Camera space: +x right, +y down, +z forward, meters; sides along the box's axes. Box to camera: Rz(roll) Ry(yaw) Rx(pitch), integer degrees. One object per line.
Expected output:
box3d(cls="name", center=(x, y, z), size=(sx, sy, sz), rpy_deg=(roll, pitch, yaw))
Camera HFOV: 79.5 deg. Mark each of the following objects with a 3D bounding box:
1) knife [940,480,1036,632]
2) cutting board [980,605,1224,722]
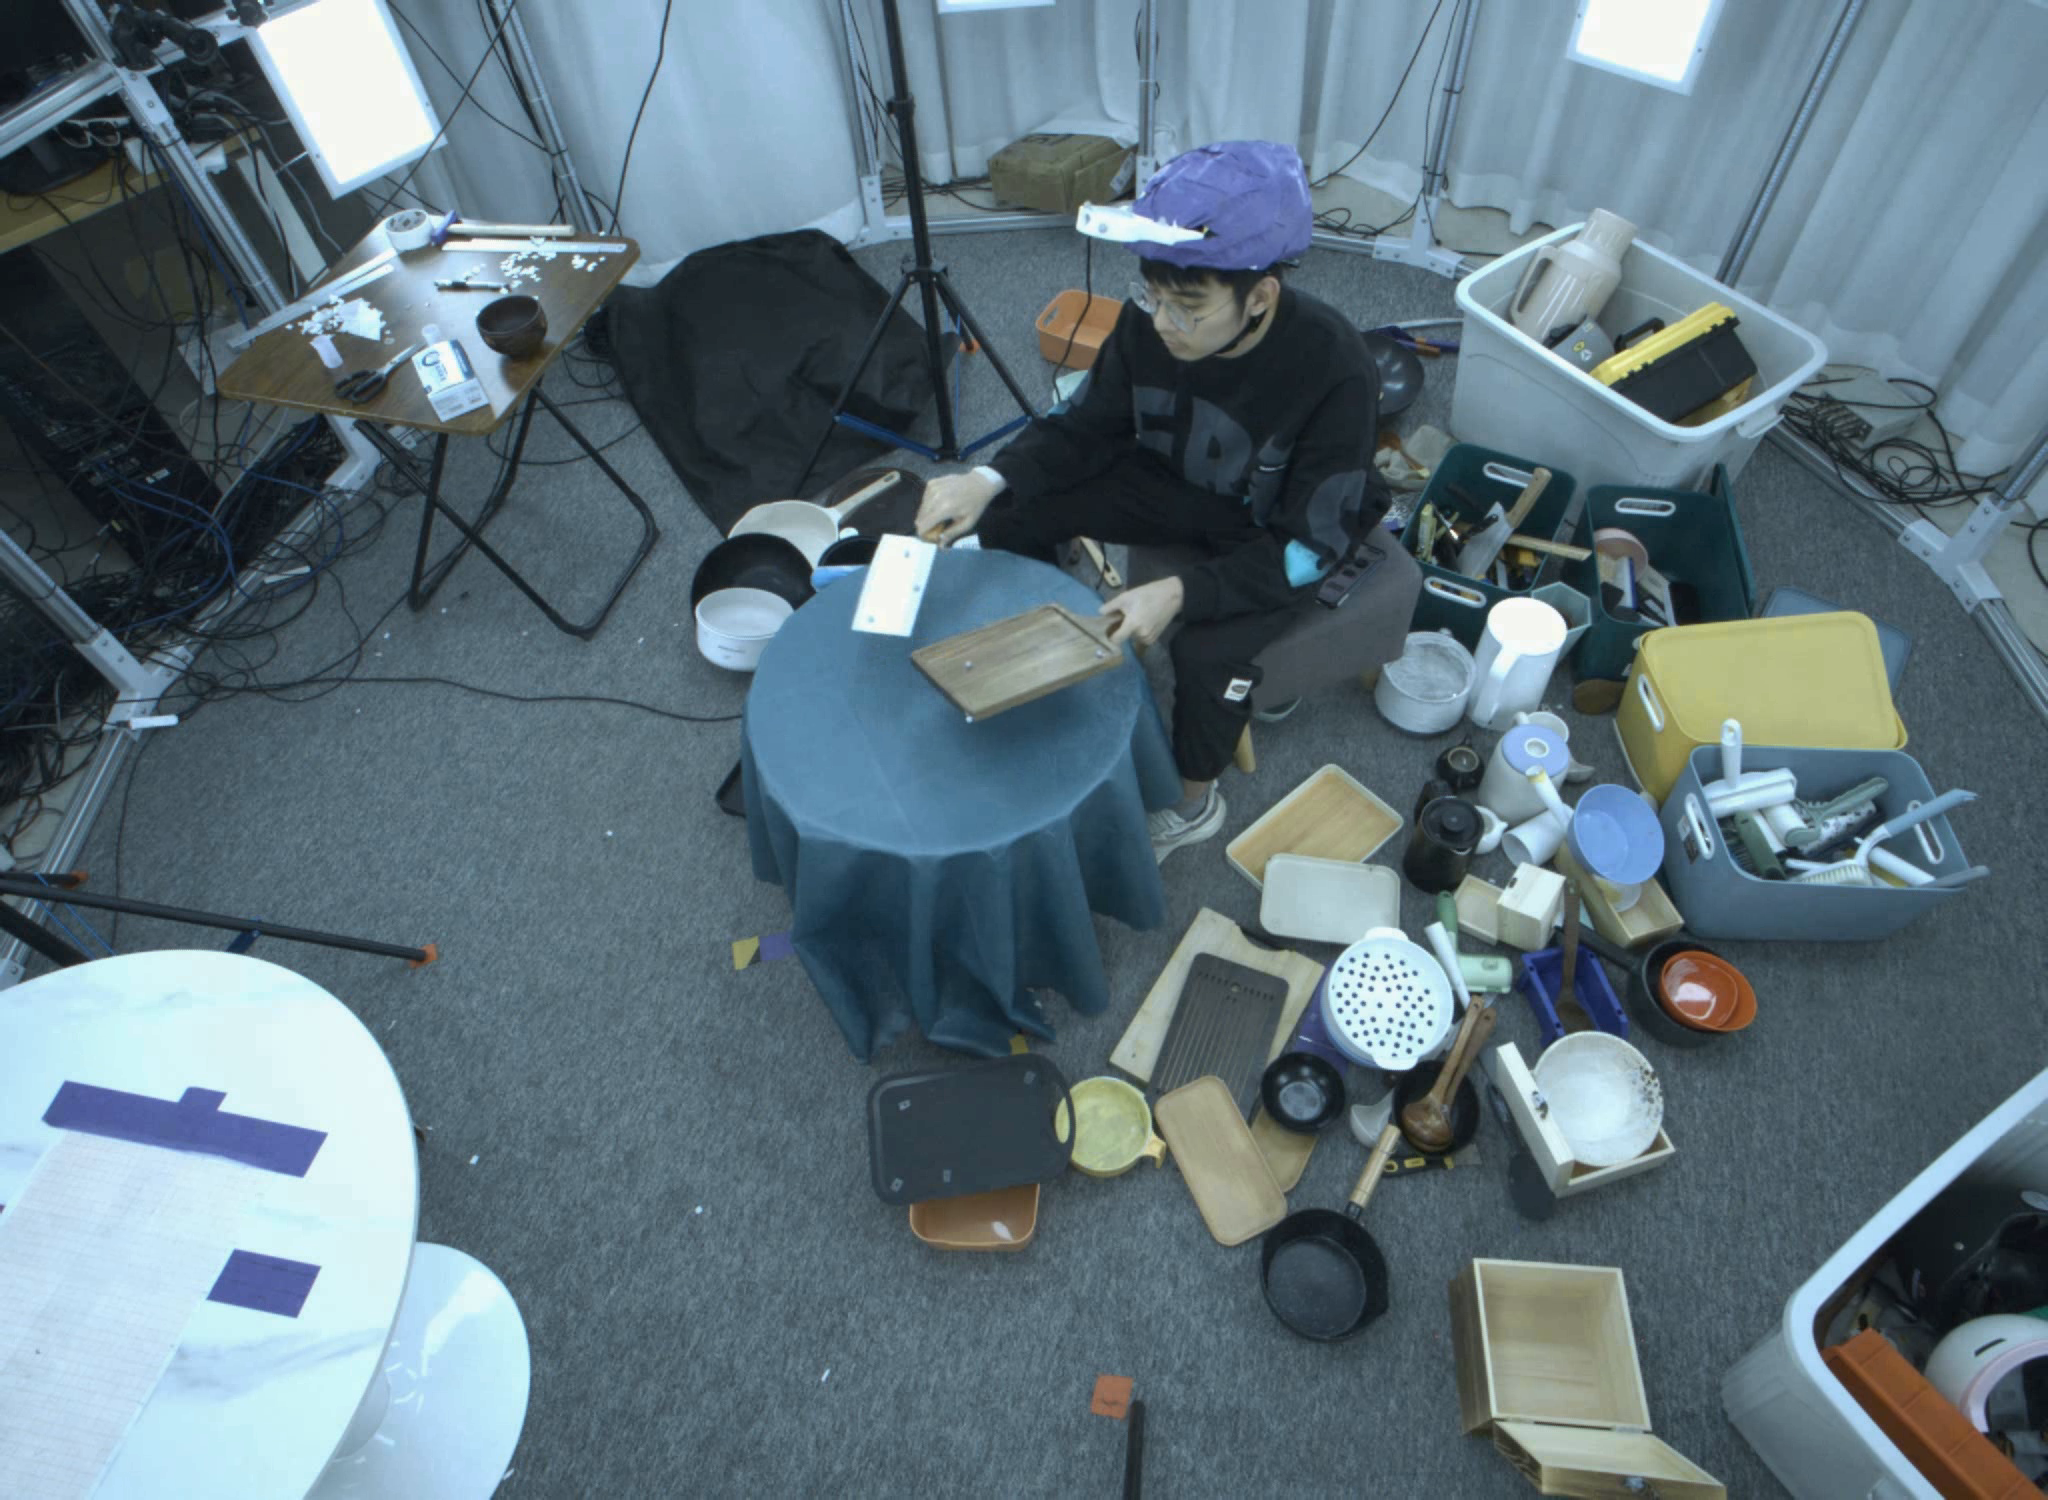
box3d(cls="knife", center=(-0.057, -0.301, 1.853), size=(0.092, 0.021, 0.304), rpy_deg=(12, 60, 8))
box3d(cls="cutting board", center=(0.134, -0.141, 1.752), size=(0.356, 0.023, 0.196), rpy_deg=(-18, 38, -20))
